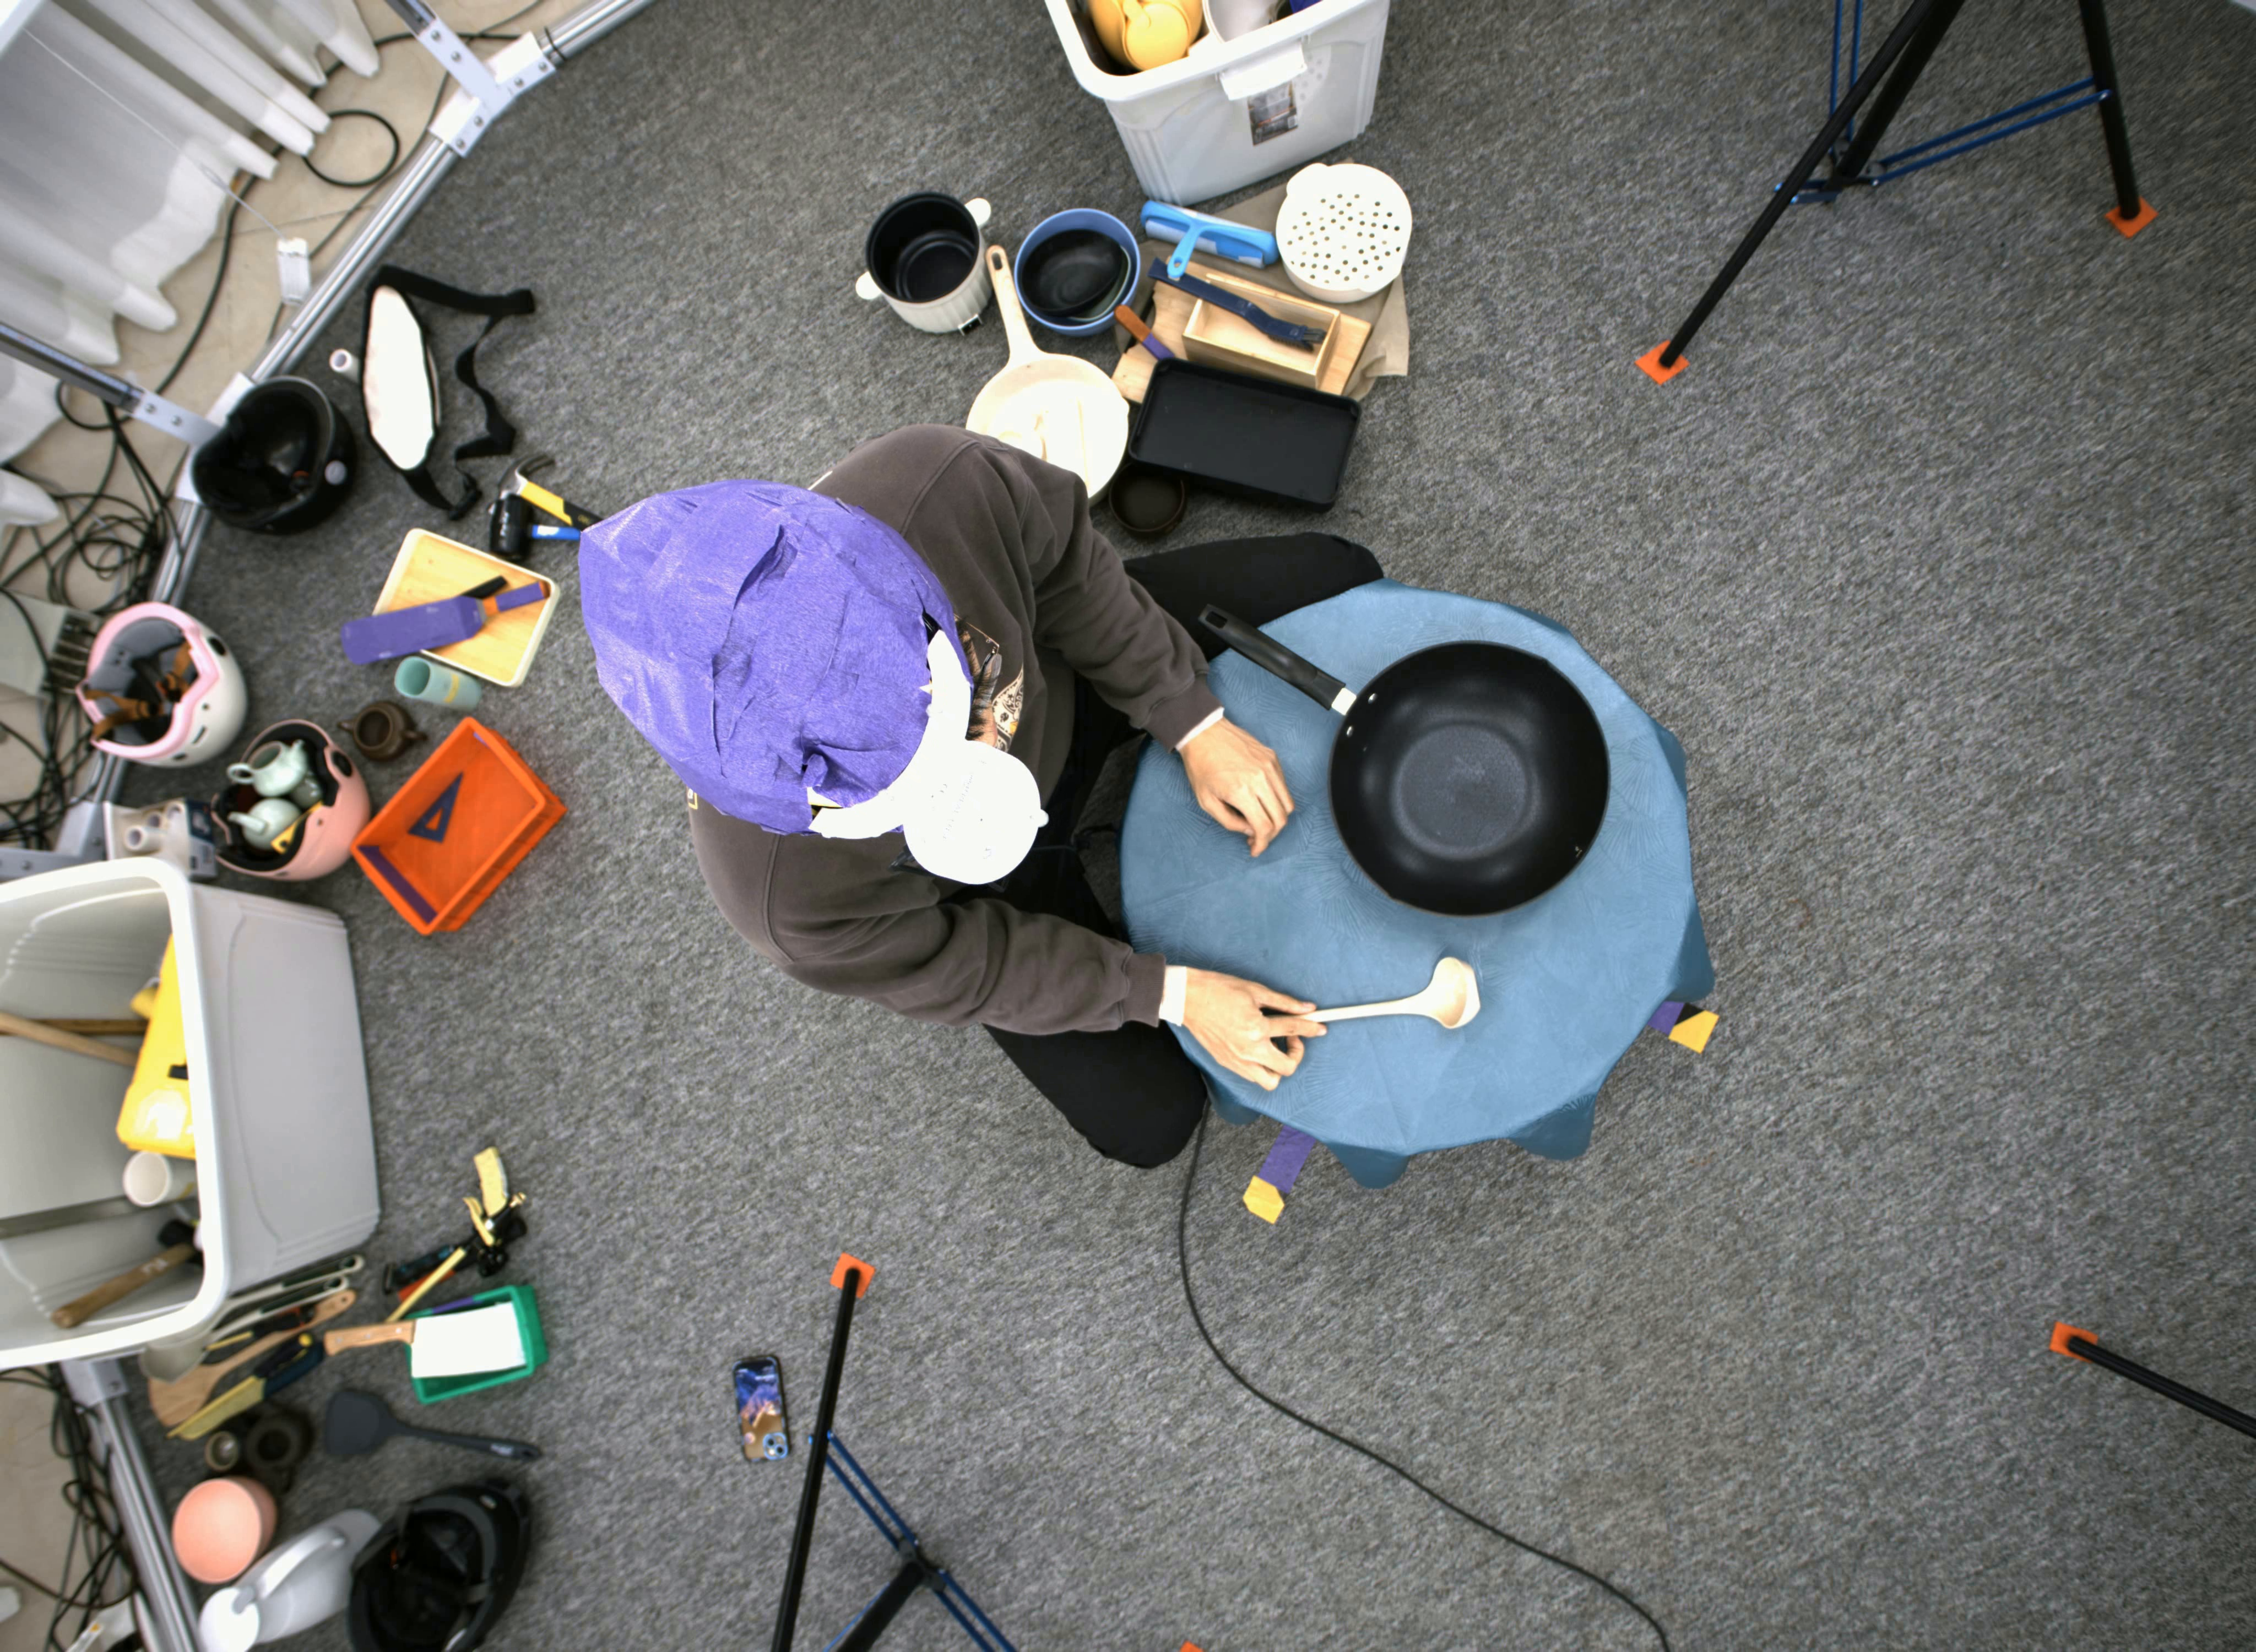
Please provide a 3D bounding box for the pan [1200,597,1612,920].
[{"bbox_3d":[0.270,-0.095,1.424,0.462,0.087,0.289,34,94,11],"label":"pan"}]

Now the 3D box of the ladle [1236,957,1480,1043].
[{"bbox_3d":[0.232,0.187,1.421,0.255,0.073,0.071,-11,73,8],"label":"ladle"}]
